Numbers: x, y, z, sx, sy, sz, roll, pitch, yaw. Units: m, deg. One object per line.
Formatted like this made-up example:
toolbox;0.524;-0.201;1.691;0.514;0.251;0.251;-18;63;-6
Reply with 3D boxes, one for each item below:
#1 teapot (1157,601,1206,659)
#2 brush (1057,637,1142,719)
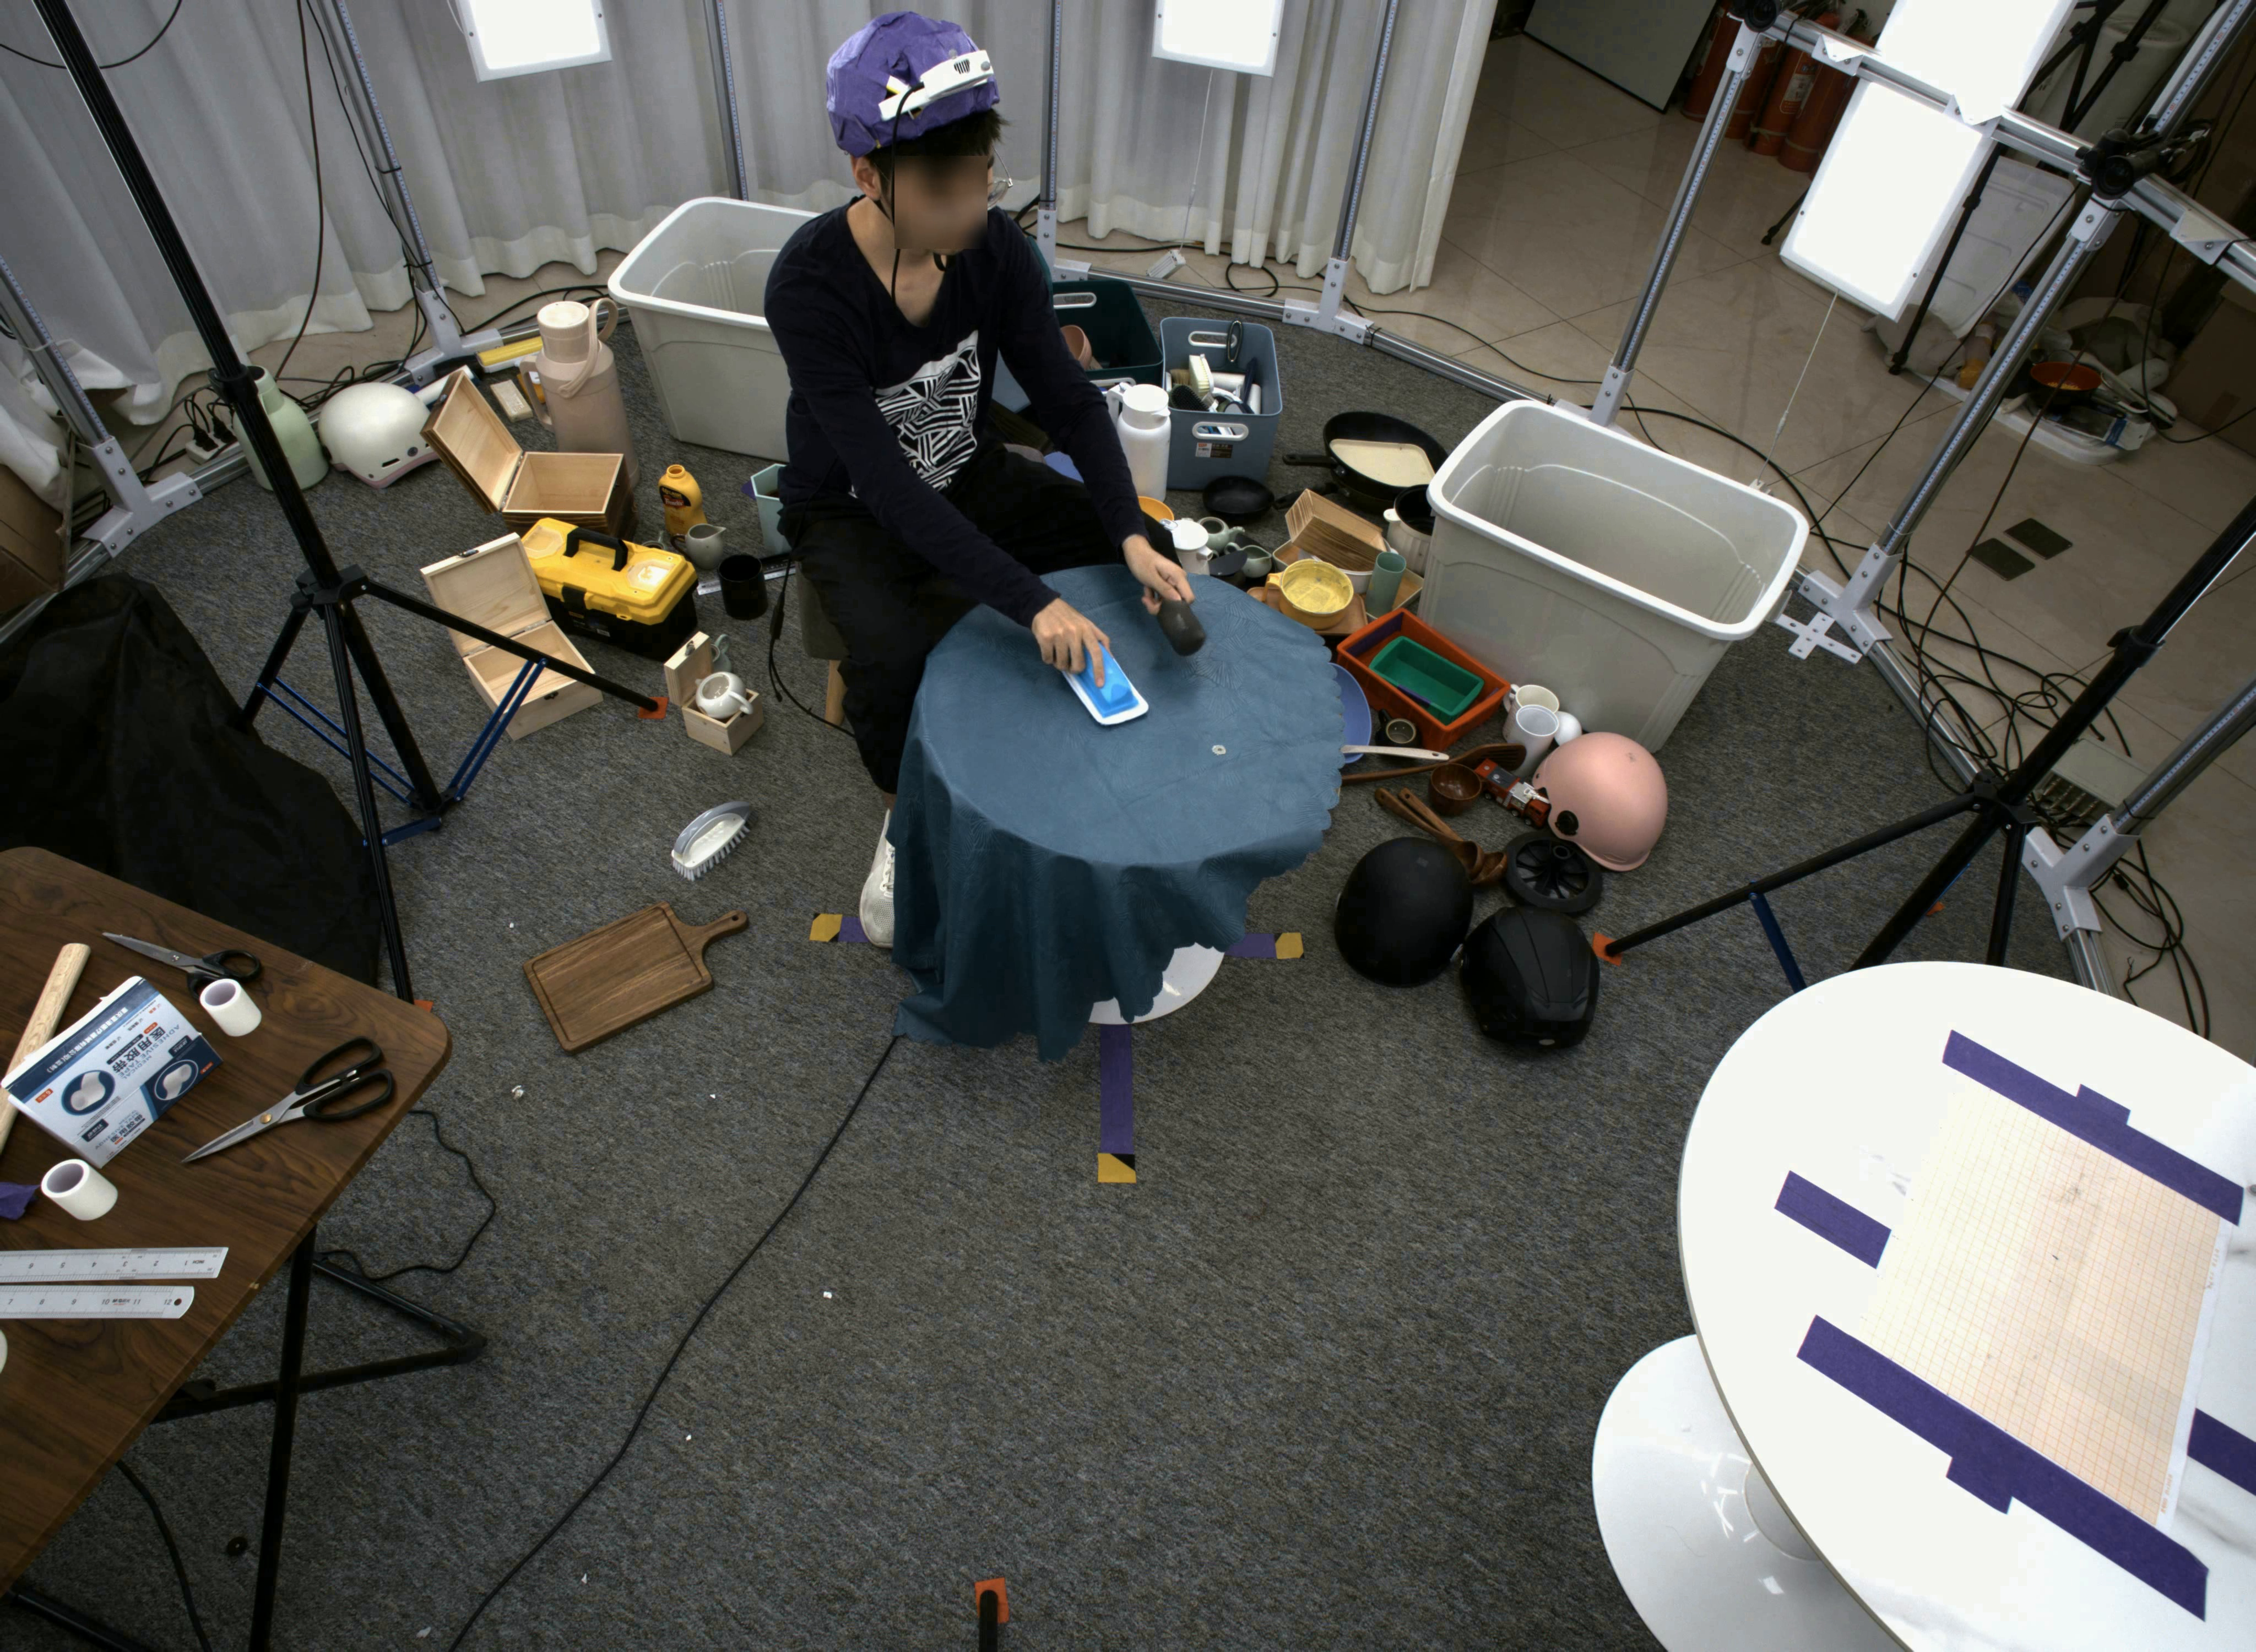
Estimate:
teapot;0.075;-0.288;1.848;0.053;0.081;0.117;-28;42;10
brush;-0.038;-0.216;1.813;0.084;0.054;0.147;-16;54;-20
